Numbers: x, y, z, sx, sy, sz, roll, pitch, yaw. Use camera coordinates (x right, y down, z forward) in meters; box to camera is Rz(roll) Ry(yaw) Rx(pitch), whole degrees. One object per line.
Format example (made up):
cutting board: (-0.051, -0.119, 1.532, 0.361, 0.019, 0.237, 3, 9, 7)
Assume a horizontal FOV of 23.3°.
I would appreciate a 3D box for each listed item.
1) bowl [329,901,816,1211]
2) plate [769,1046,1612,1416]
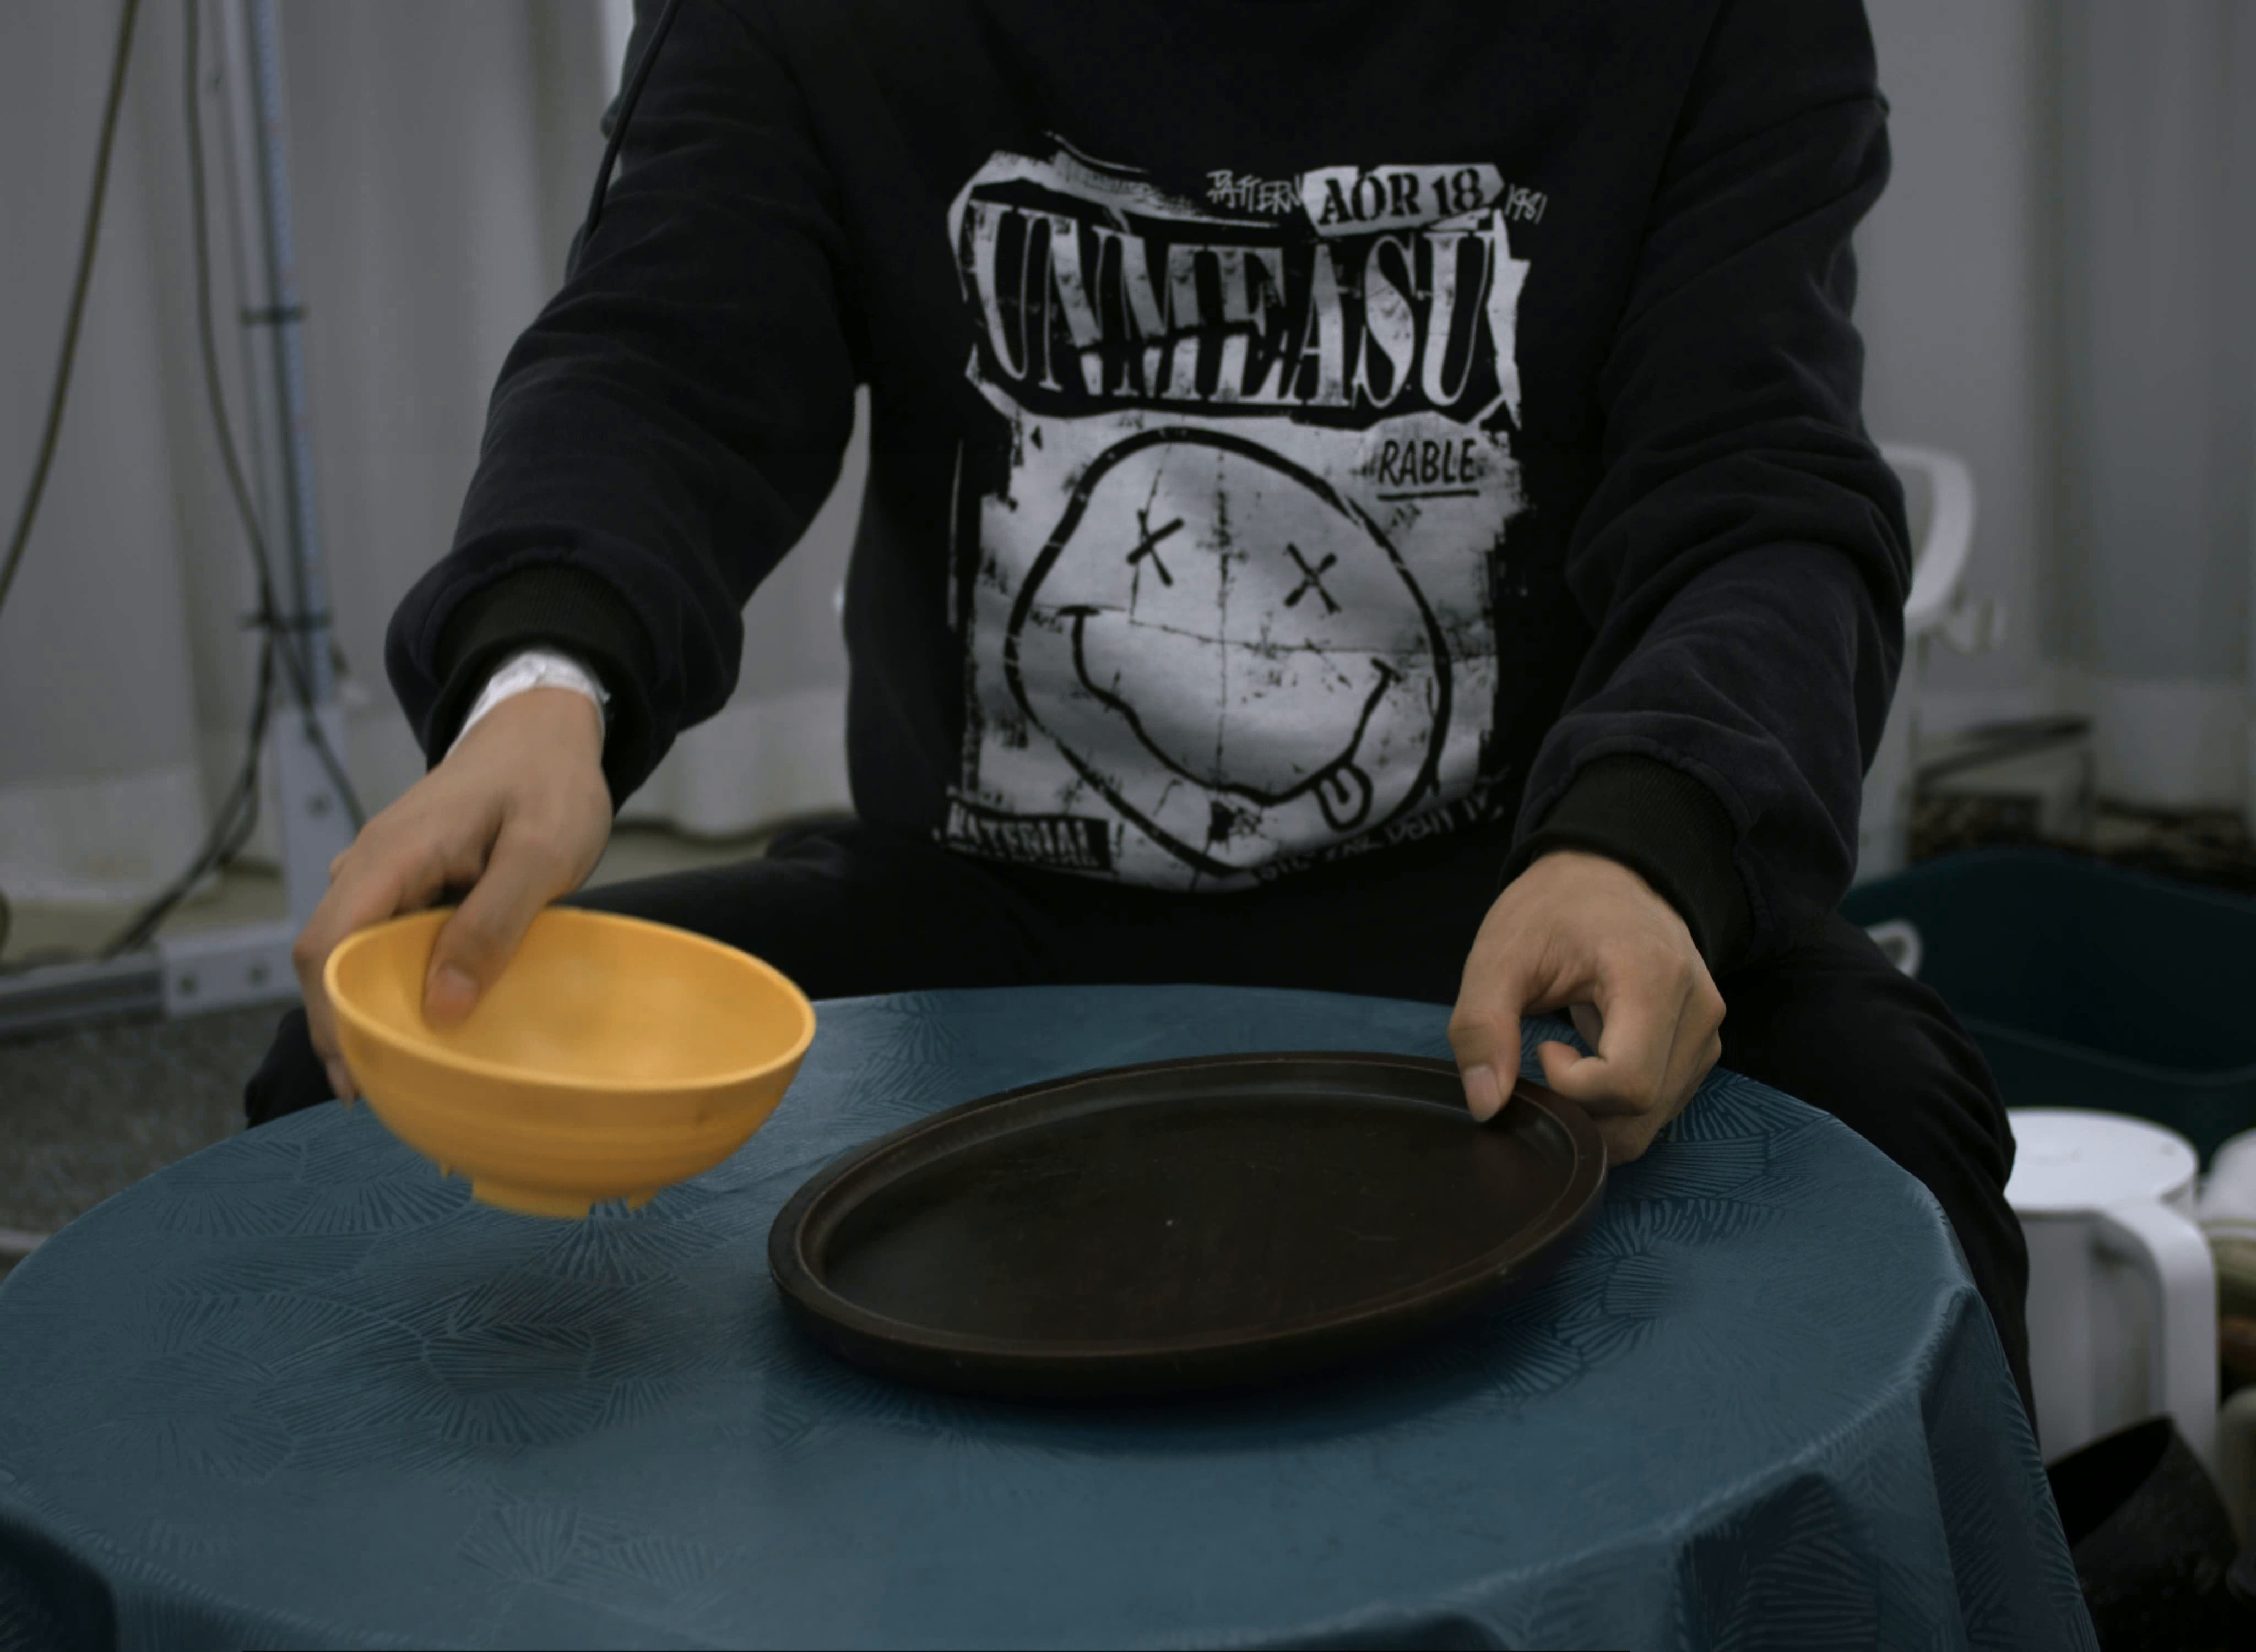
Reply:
bowl: (-0.167, 0.073, 1.608, 0.145, 0.060, 0.146, 10, 14, -3)
plate: (0.019, 0.118, 1.625, 0.254, 0.029, 0.256, -8, 15, 2)
